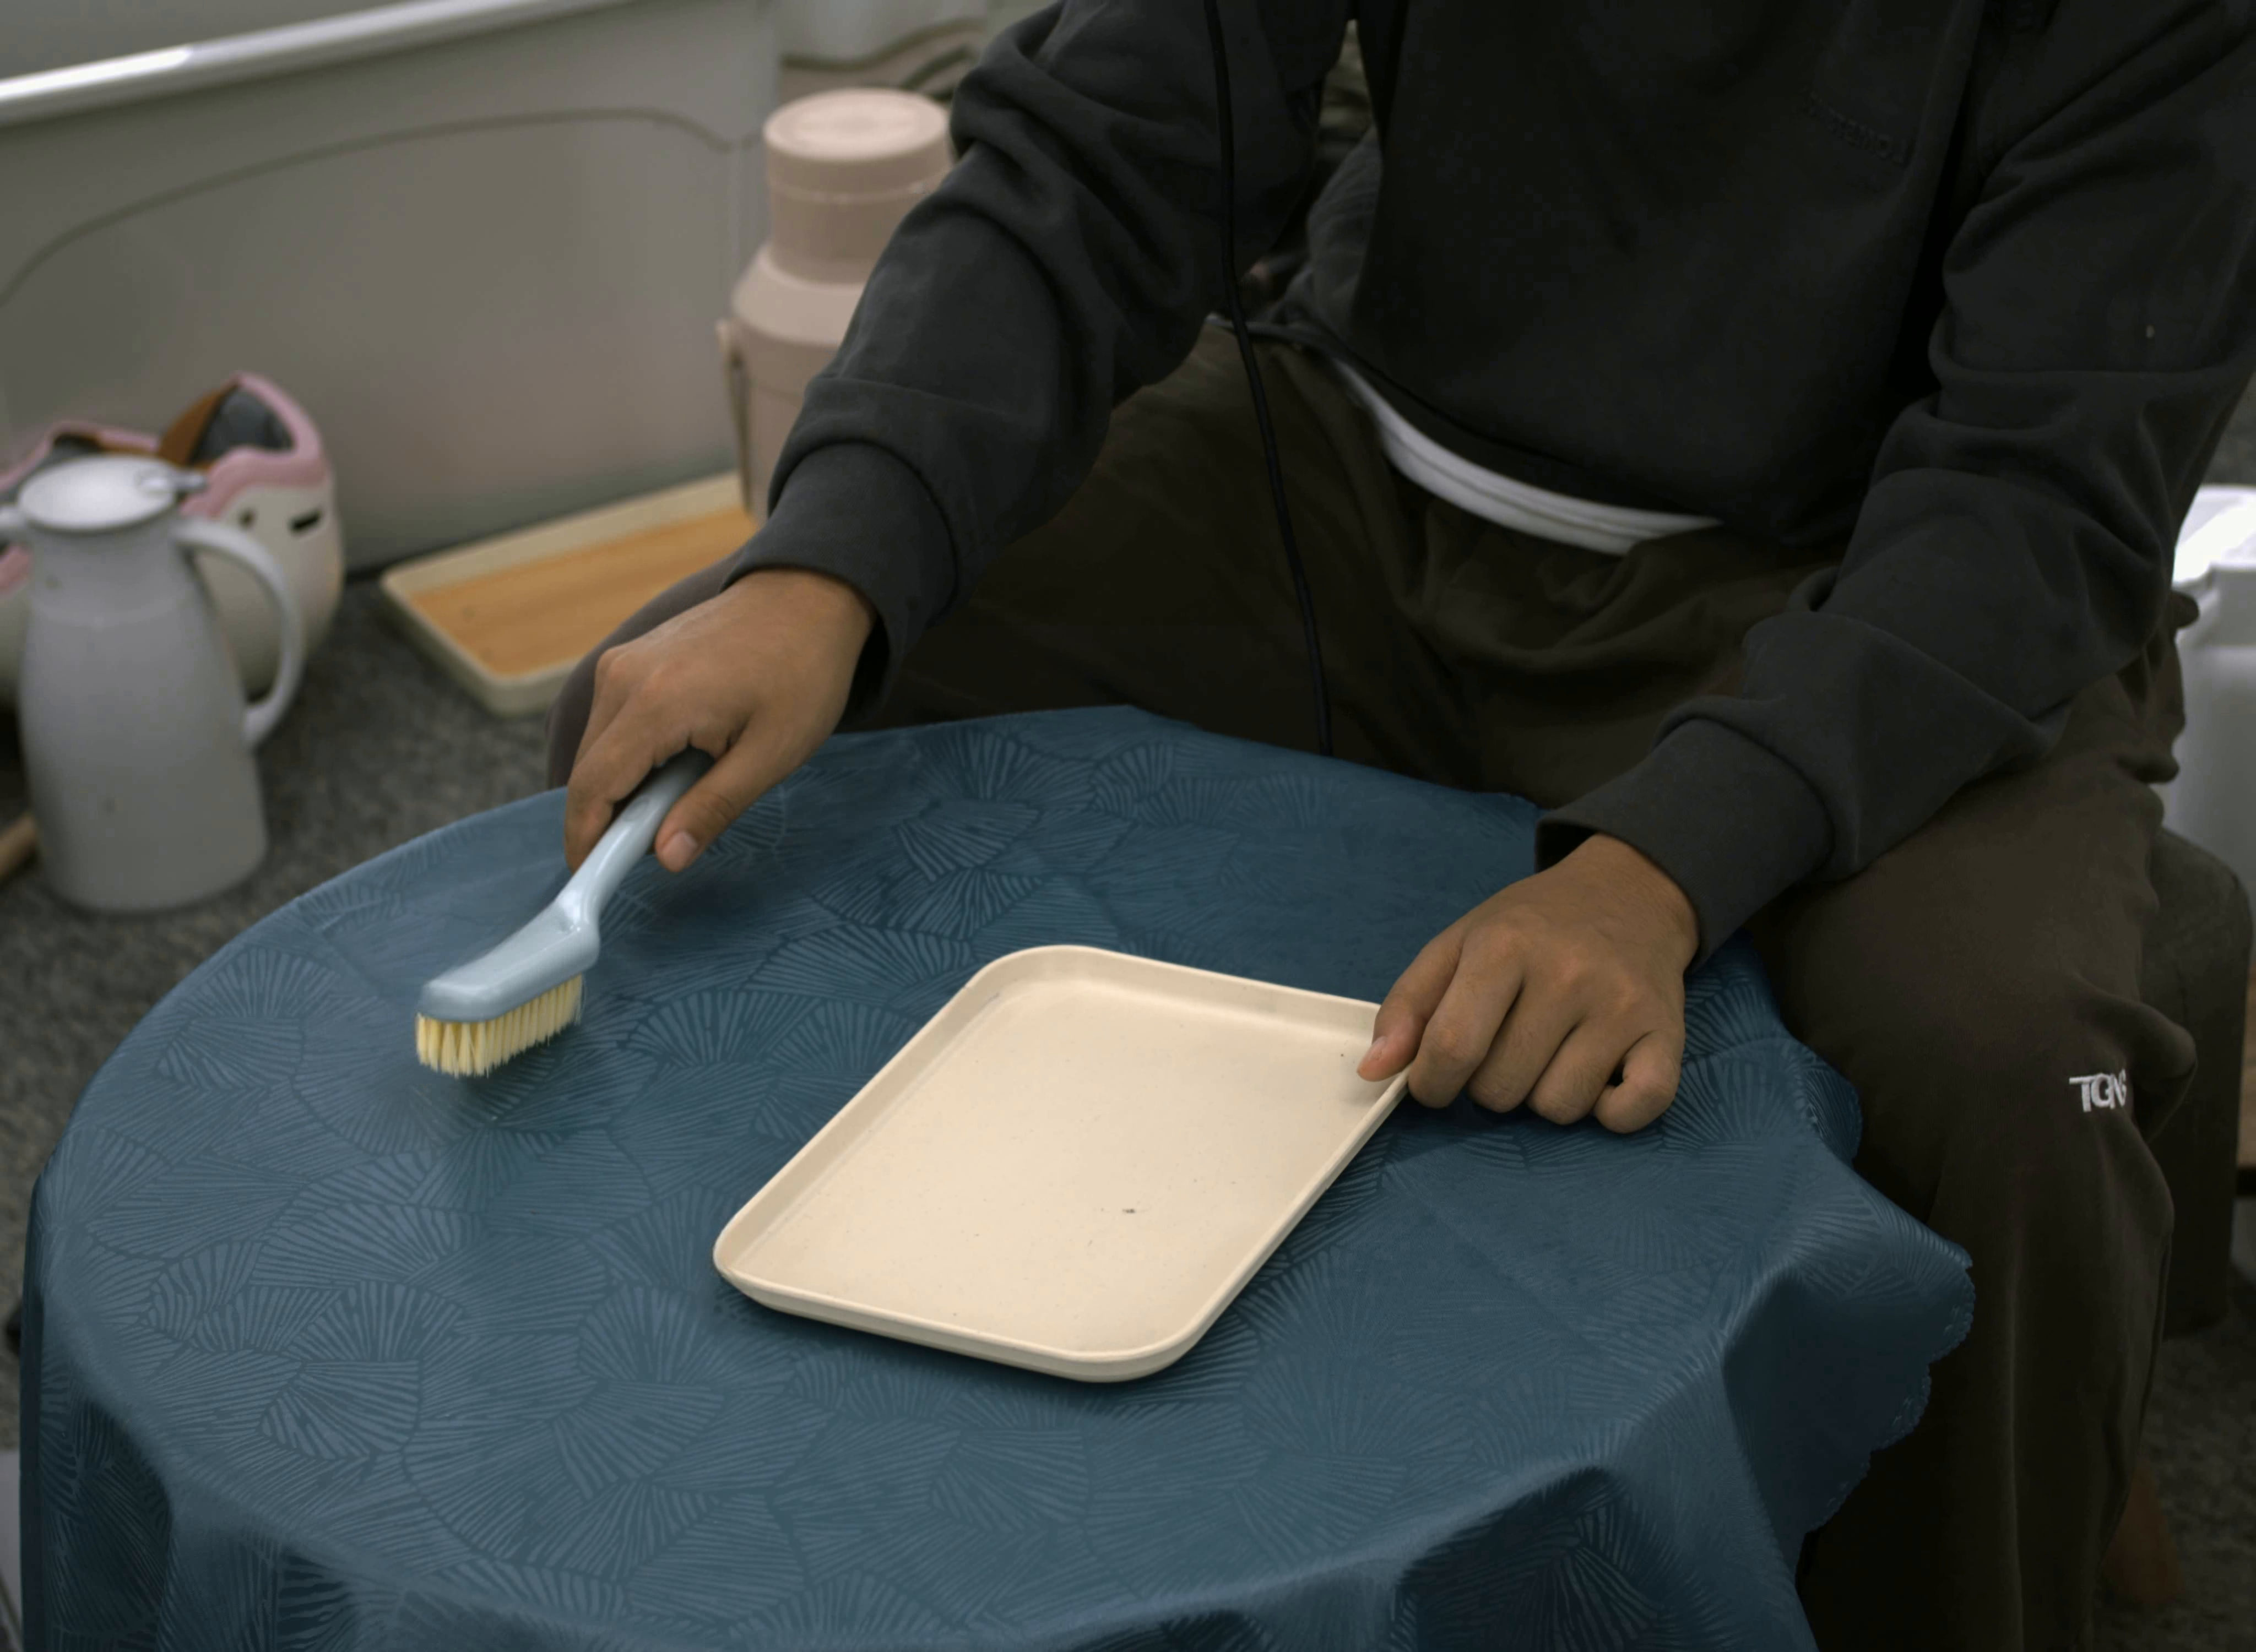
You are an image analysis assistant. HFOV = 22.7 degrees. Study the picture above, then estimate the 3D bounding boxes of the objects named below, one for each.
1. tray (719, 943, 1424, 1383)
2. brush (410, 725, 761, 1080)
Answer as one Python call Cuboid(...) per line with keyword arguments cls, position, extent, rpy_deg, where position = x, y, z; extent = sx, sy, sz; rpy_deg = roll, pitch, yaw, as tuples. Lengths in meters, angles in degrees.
Cuboid(cls="tray", position=(-0.016, 0.110, 1.868), extent=(0.170, 0.017, 0.243), rpy_deg=(11, 30, 23))
Cuboid(cls="brush", position=(-0.190, 0.025, 2.009), extent=(0.037, 0.049, 0.233), rpy_deg=(11, 33, 19))
